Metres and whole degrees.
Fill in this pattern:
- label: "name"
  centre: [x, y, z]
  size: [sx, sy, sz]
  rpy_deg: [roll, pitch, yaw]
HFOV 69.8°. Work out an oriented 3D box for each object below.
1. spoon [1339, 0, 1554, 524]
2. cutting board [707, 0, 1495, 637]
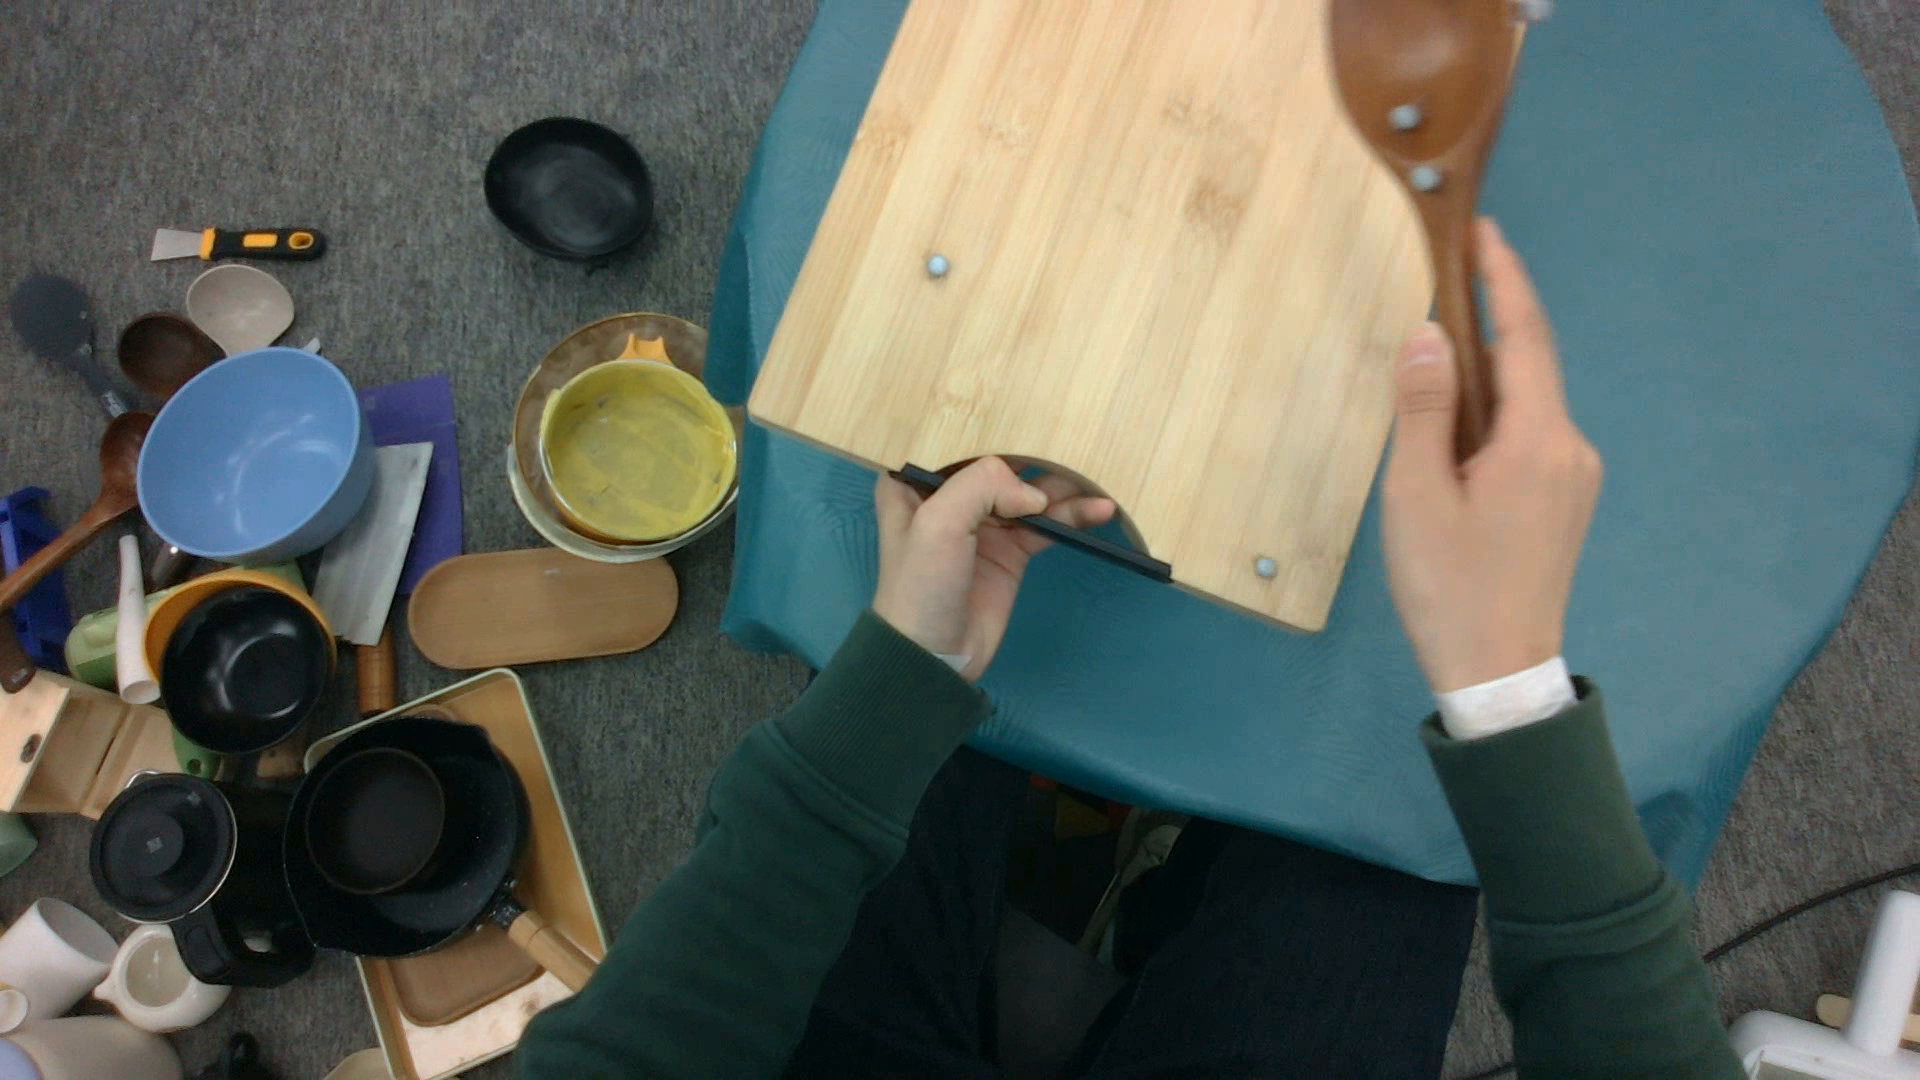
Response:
- label: "spoon"
  centre: [0.164, -0.113, 0.461]
  size: [0.017, 0.075, 0.216]
  rpy_deg: [-4, 93, -41]
- label: "cutting board"
  centre: [0.075, -0.162, 0.564]
  size: [0.251, 0.023, 0.349]
  rpy_deg: [20, 79, -6]
